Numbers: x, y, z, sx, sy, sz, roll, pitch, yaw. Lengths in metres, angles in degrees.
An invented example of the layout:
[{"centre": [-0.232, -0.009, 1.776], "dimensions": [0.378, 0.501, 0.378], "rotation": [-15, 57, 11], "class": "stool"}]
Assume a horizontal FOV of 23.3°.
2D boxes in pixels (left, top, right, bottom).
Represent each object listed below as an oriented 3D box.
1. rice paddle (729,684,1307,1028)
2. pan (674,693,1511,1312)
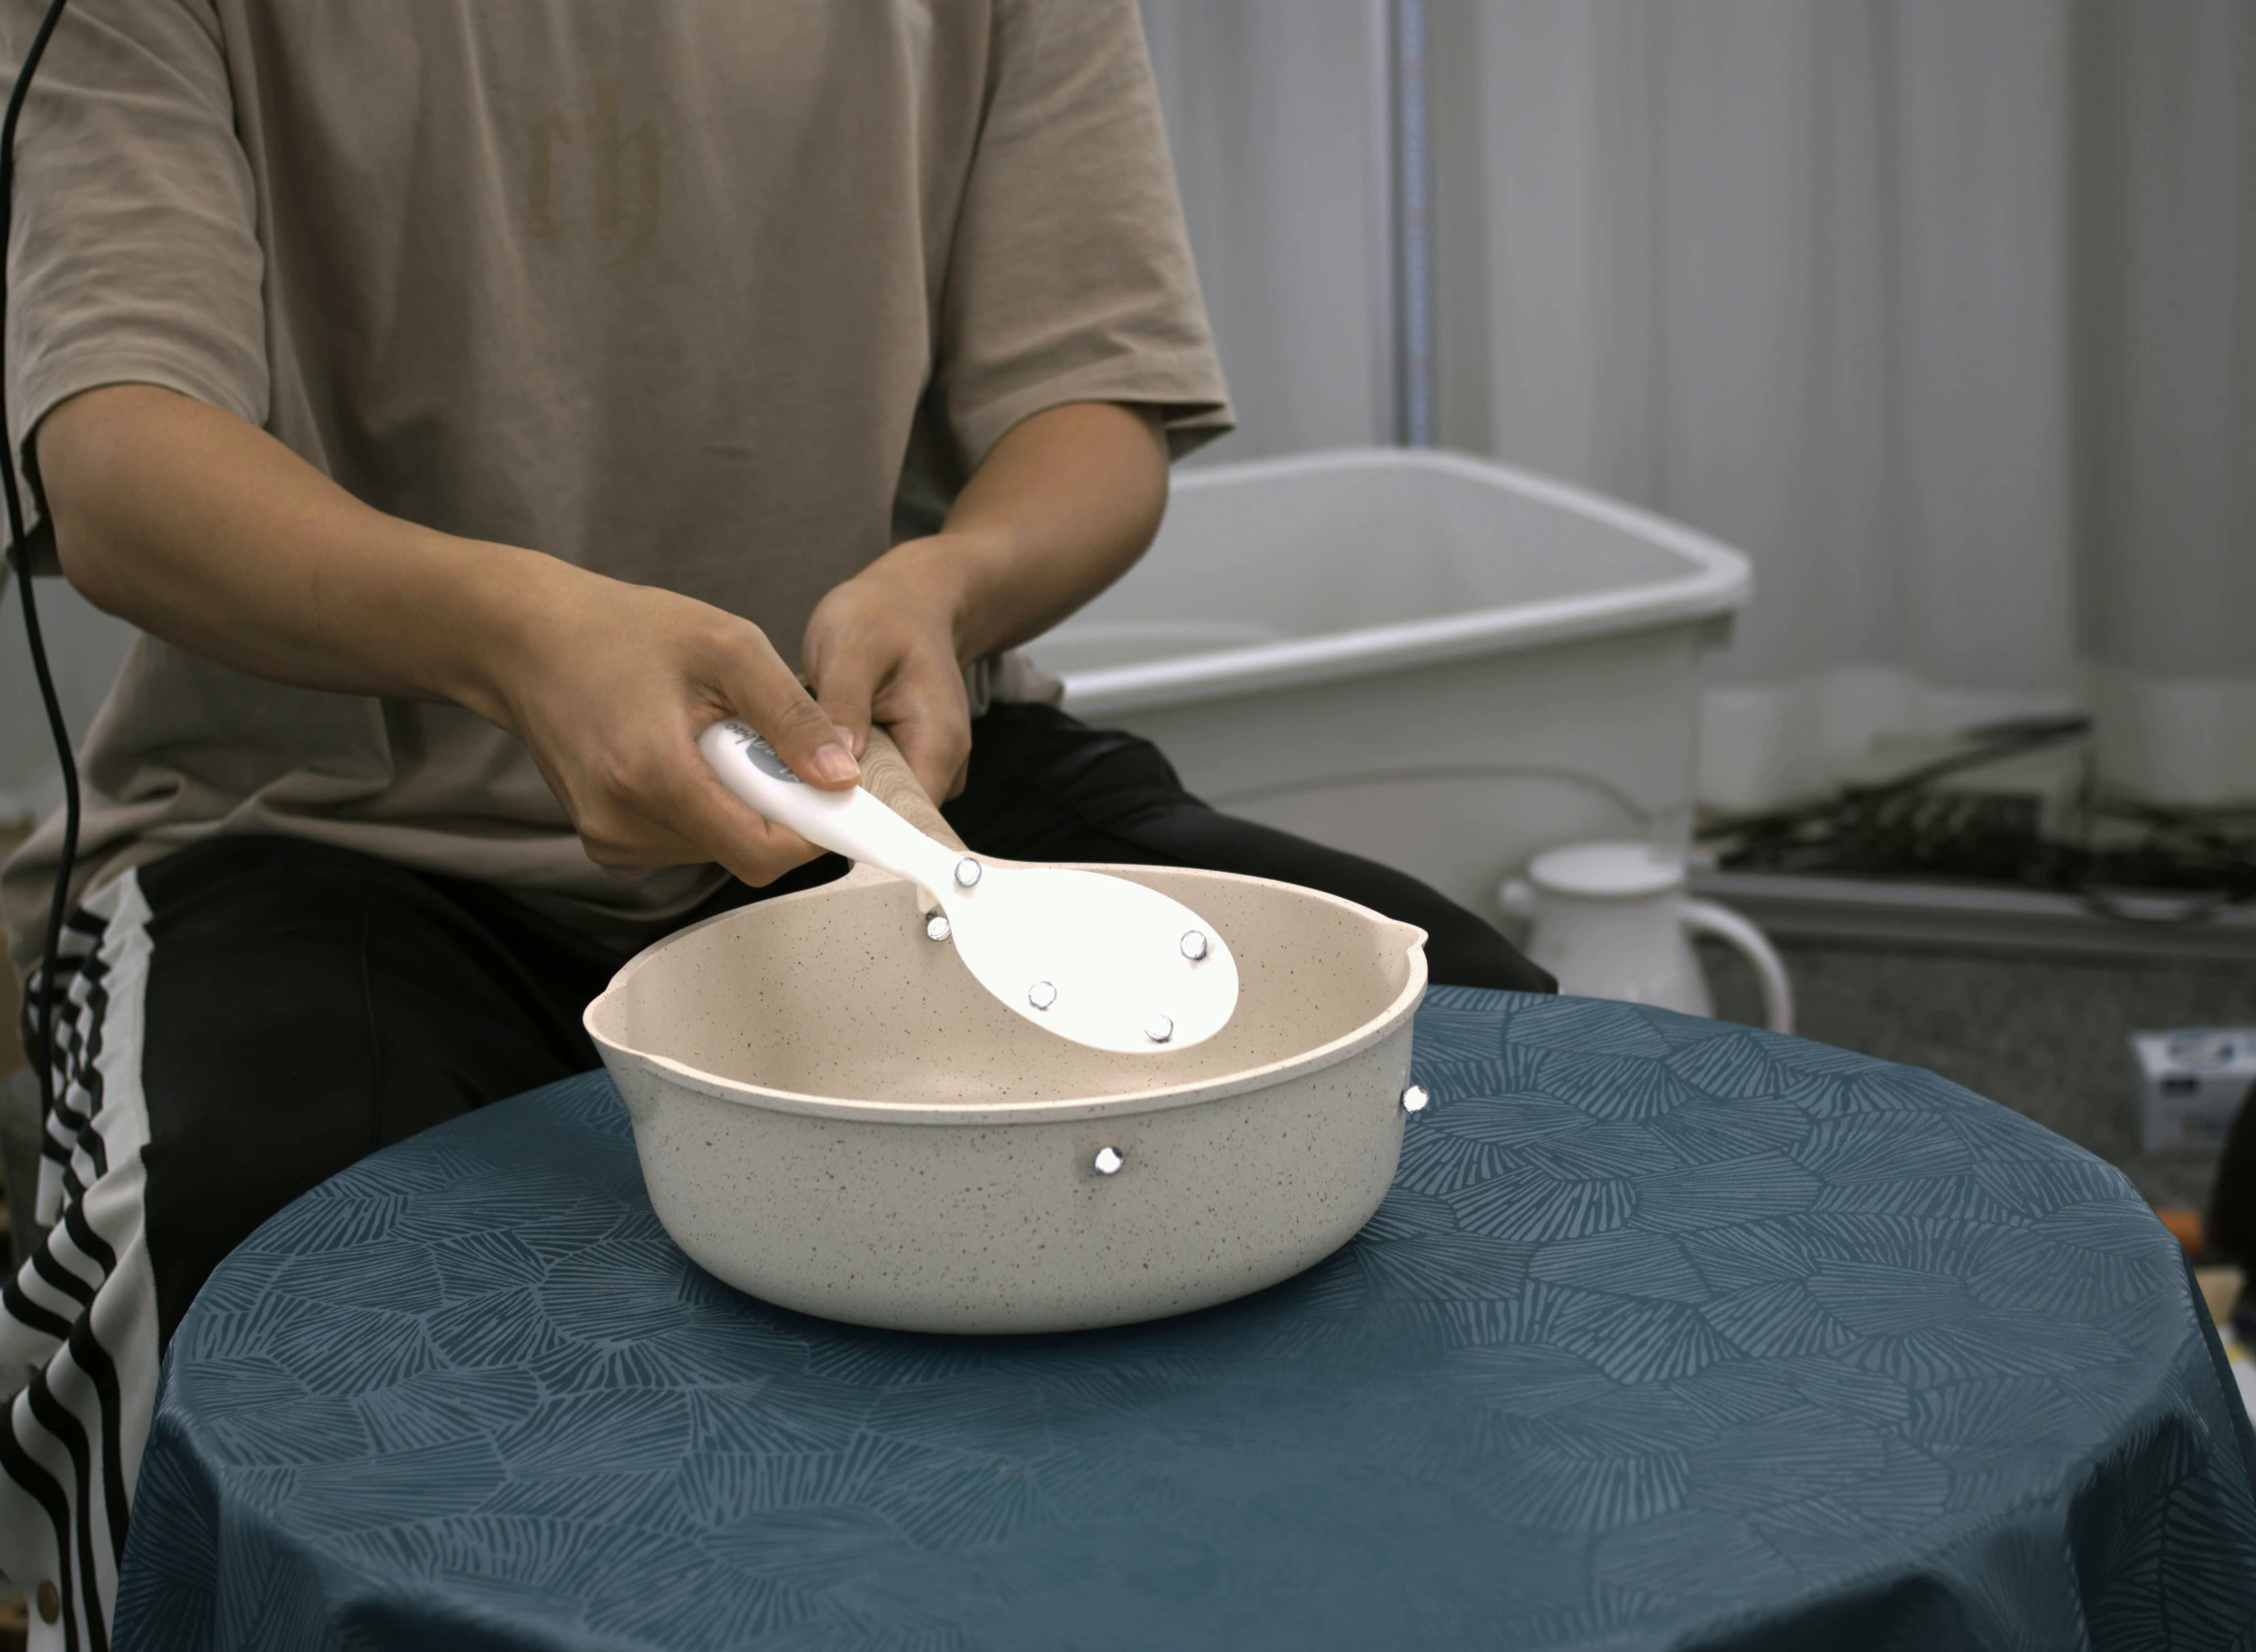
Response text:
[{"centre": [-0.034, 0.009, 1.679], "dimensions": [0.206, 0.029, 0.069], "rotation": [26, 49, 26], "class": "rice paddle"}, {"centre": [-0.030, 0.051, 1.761], "dimensions": [0.262, 0.101, 0.438], "rotation": [-8, 15, -13], "class": "pan"}]
